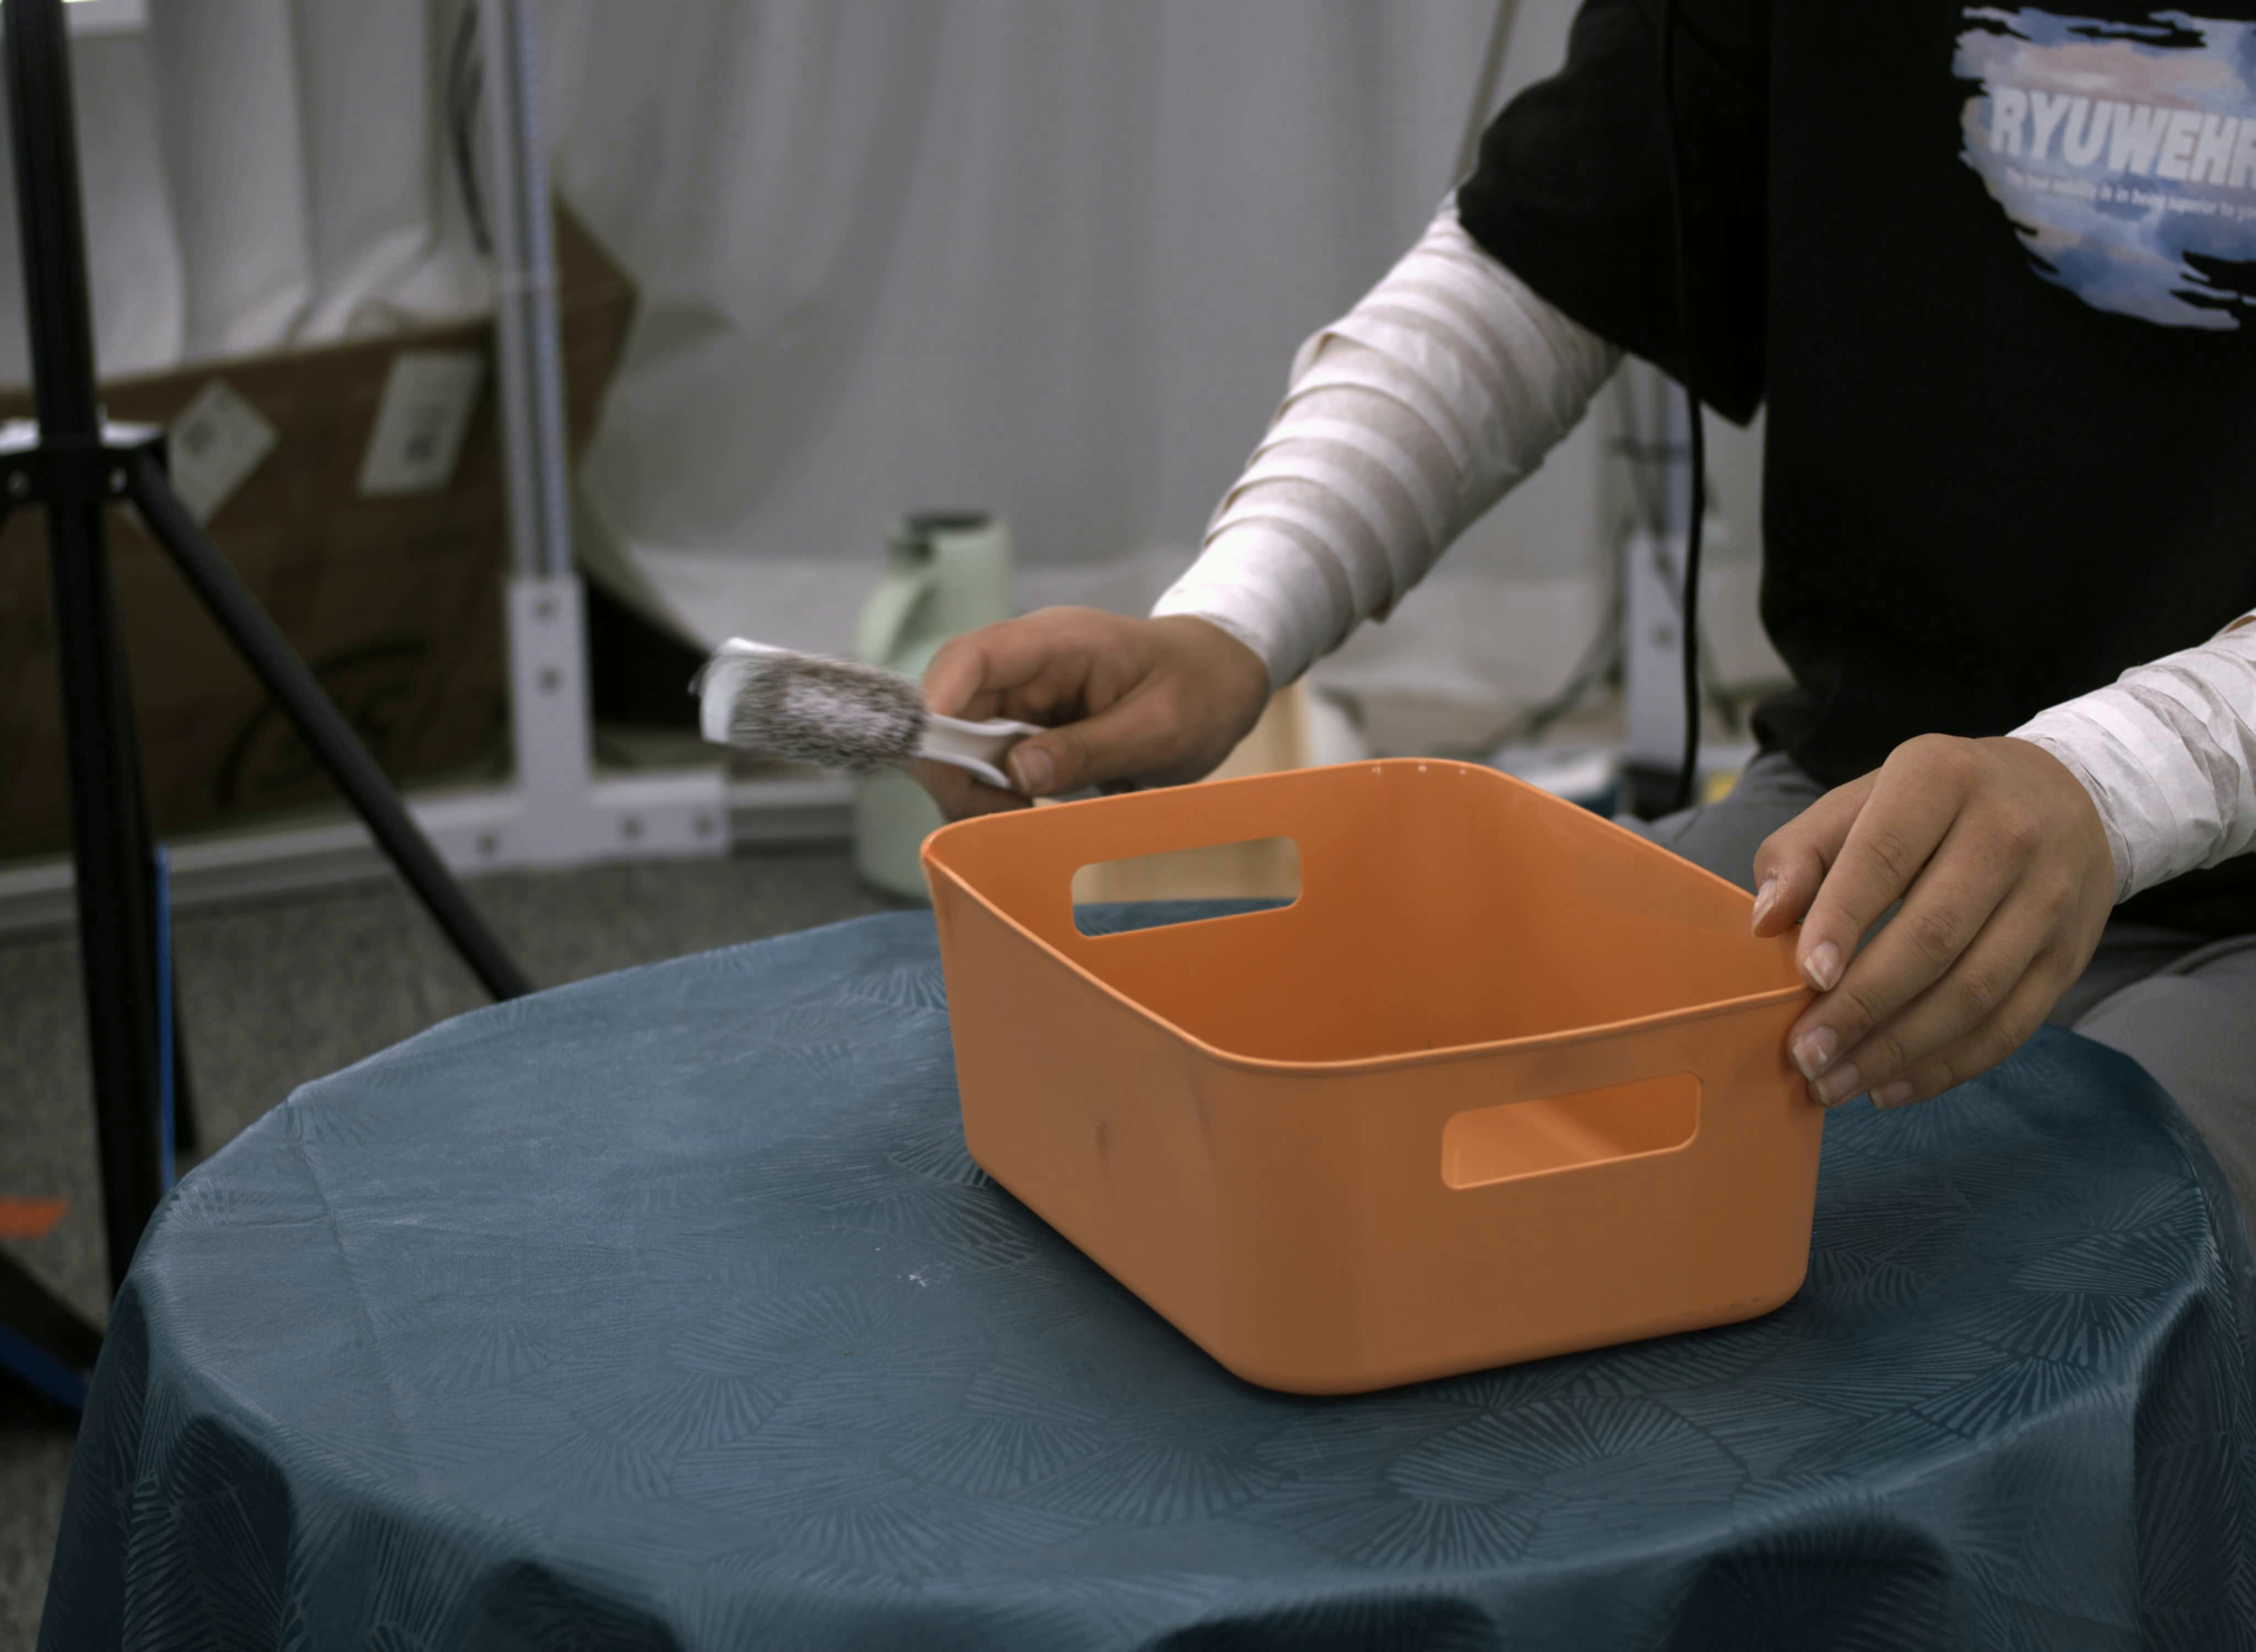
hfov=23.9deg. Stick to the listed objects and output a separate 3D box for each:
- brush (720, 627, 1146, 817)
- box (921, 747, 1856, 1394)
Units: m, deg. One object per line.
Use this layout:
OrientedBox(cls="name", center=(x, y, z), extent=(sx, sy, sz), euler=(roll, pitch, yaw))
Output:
OrientedBox(cls="brush", center=(-0.046, -0.023, 1.700), extent=(0.051, 0.034, 0.237), euler=(18, 0, 34))
OrientedBox(cls="box", center=(0.070, 0.065, 1.503), extent=(0.196, 0.102, 0.278), euler=(-9, 17, -21))
